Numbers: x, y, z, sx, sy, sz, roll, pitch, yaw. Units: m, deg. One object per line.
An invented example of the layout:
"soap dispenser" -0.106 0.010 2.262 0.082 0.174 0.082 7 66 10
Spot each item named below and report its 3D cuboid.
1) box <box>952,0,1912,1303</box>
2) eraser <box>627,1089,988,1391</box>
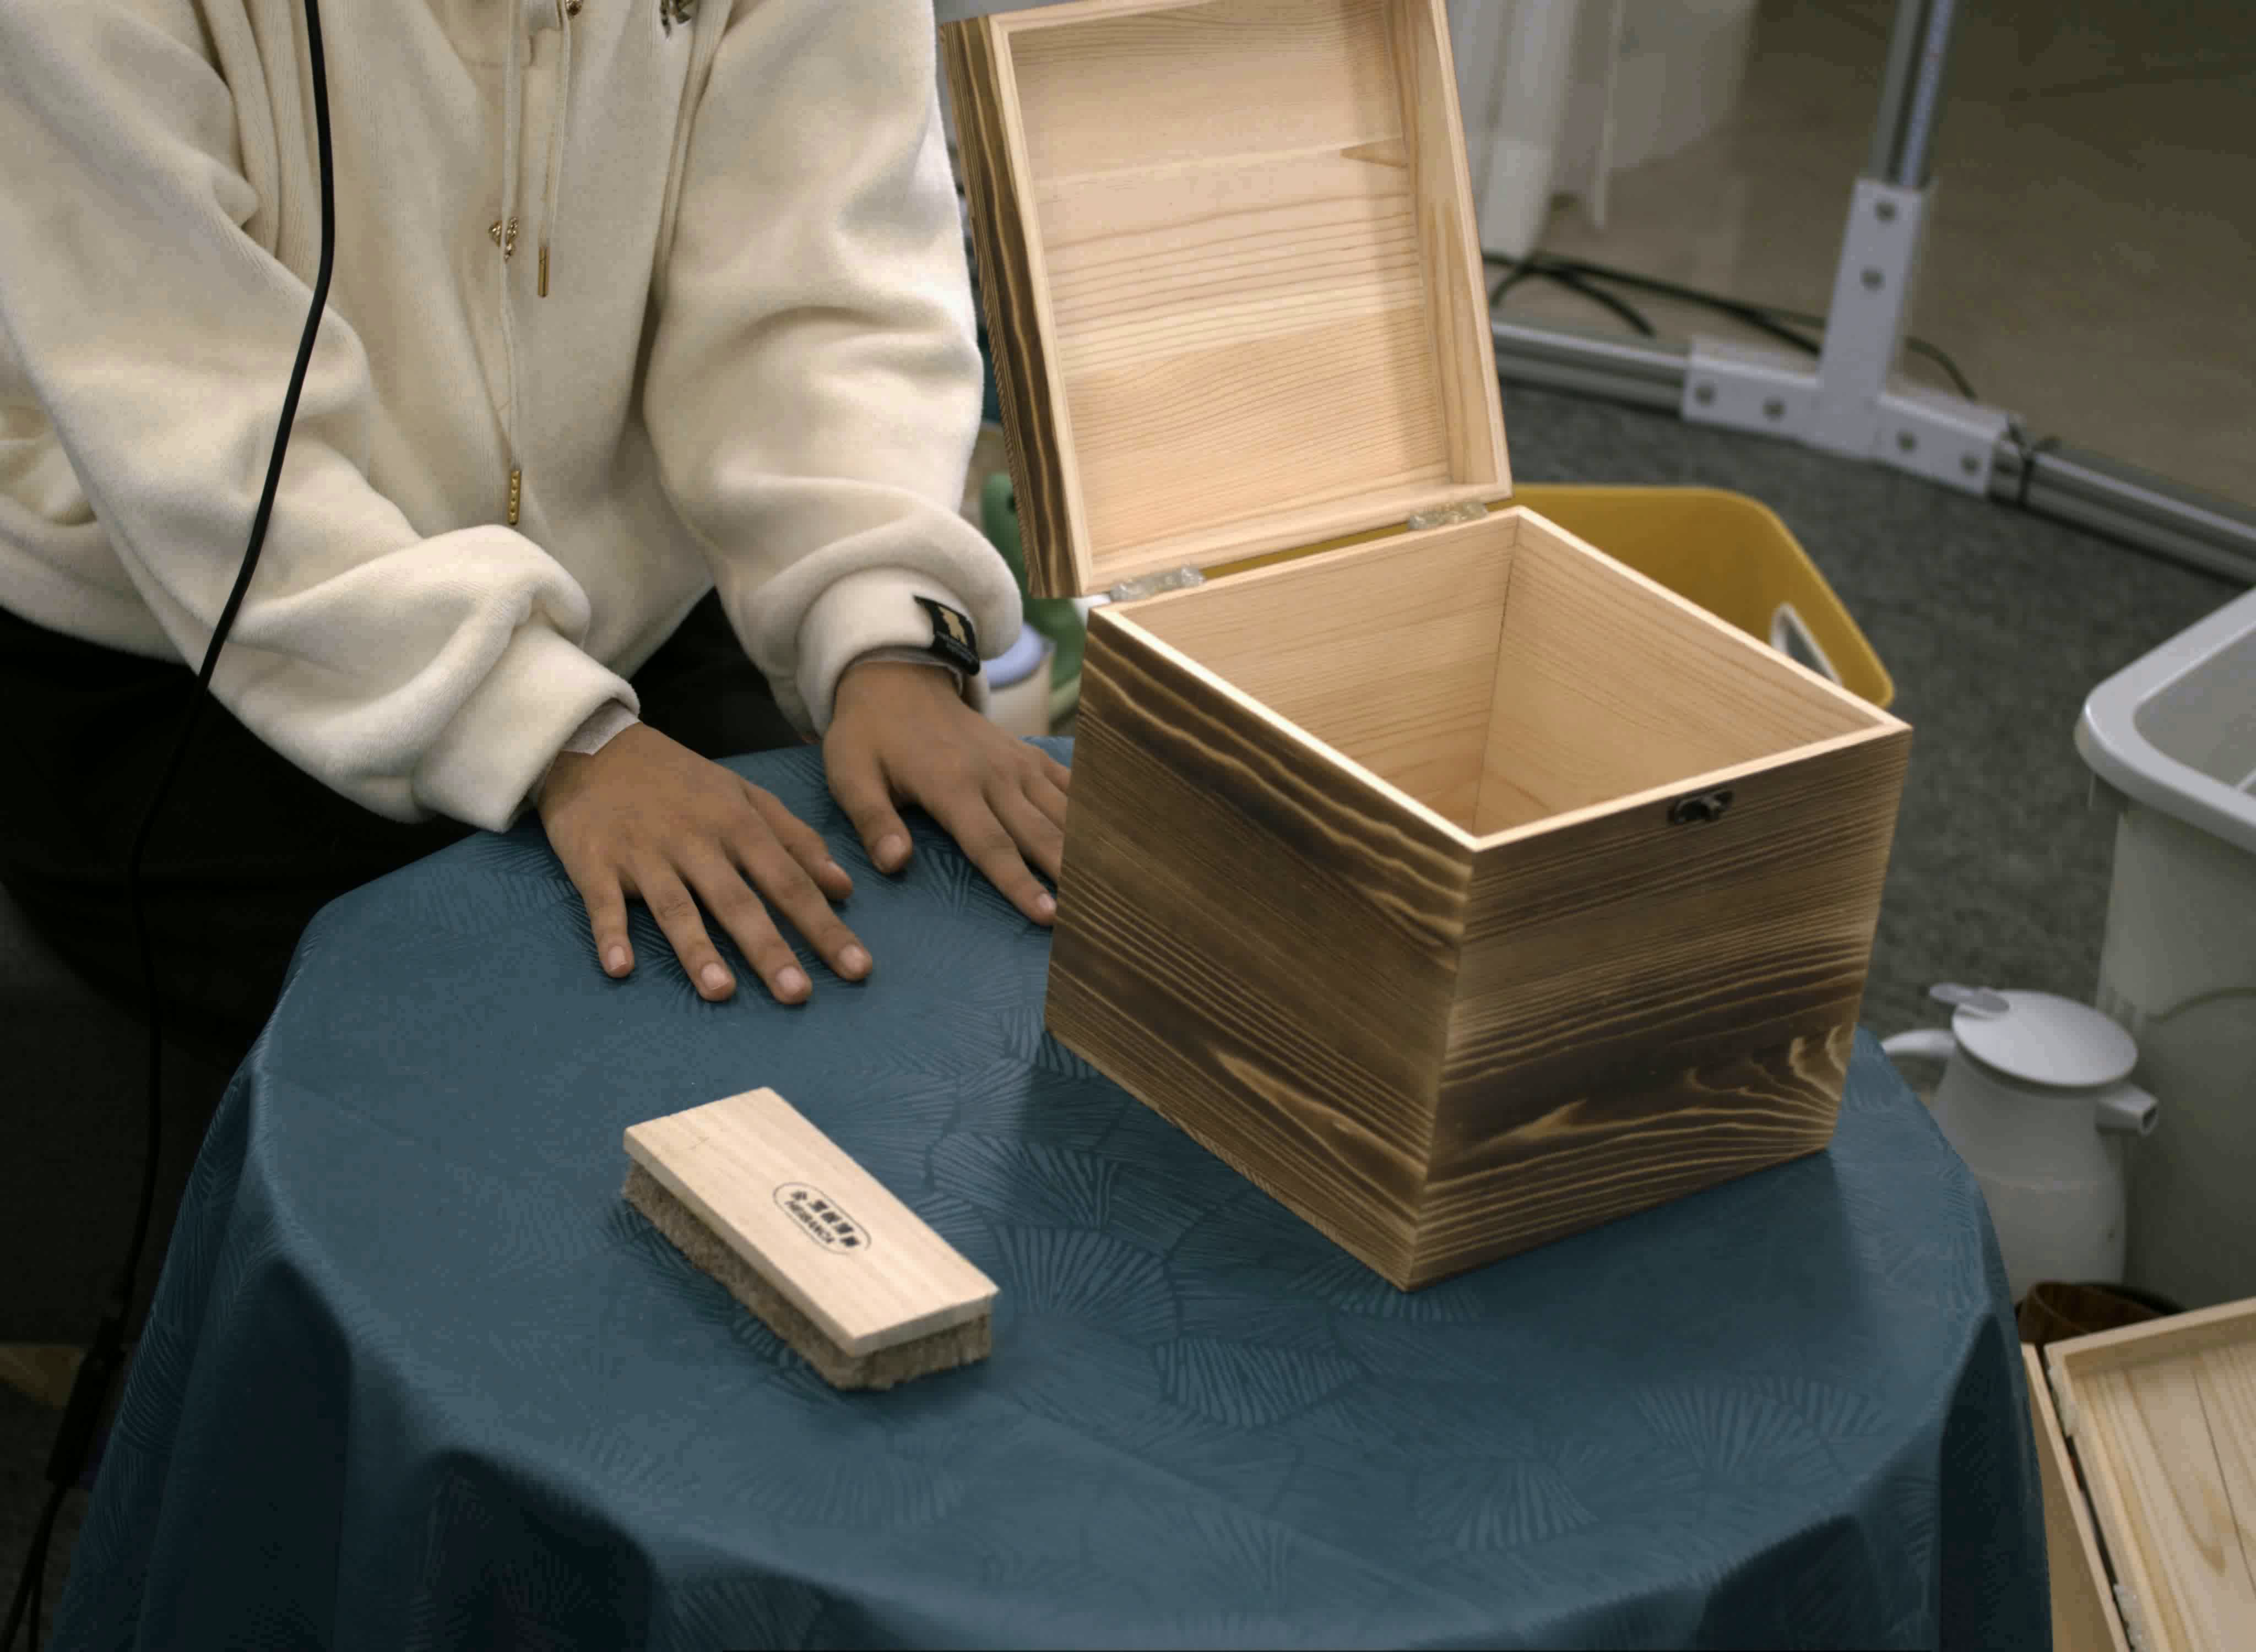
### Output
"box" 0.094 -0.087 1.837 0.207 0.374 0.325 -16 34 -36
"eraser" -0.105 0.135 1.725 0.057 0.029 0.140 -15 33 -31
